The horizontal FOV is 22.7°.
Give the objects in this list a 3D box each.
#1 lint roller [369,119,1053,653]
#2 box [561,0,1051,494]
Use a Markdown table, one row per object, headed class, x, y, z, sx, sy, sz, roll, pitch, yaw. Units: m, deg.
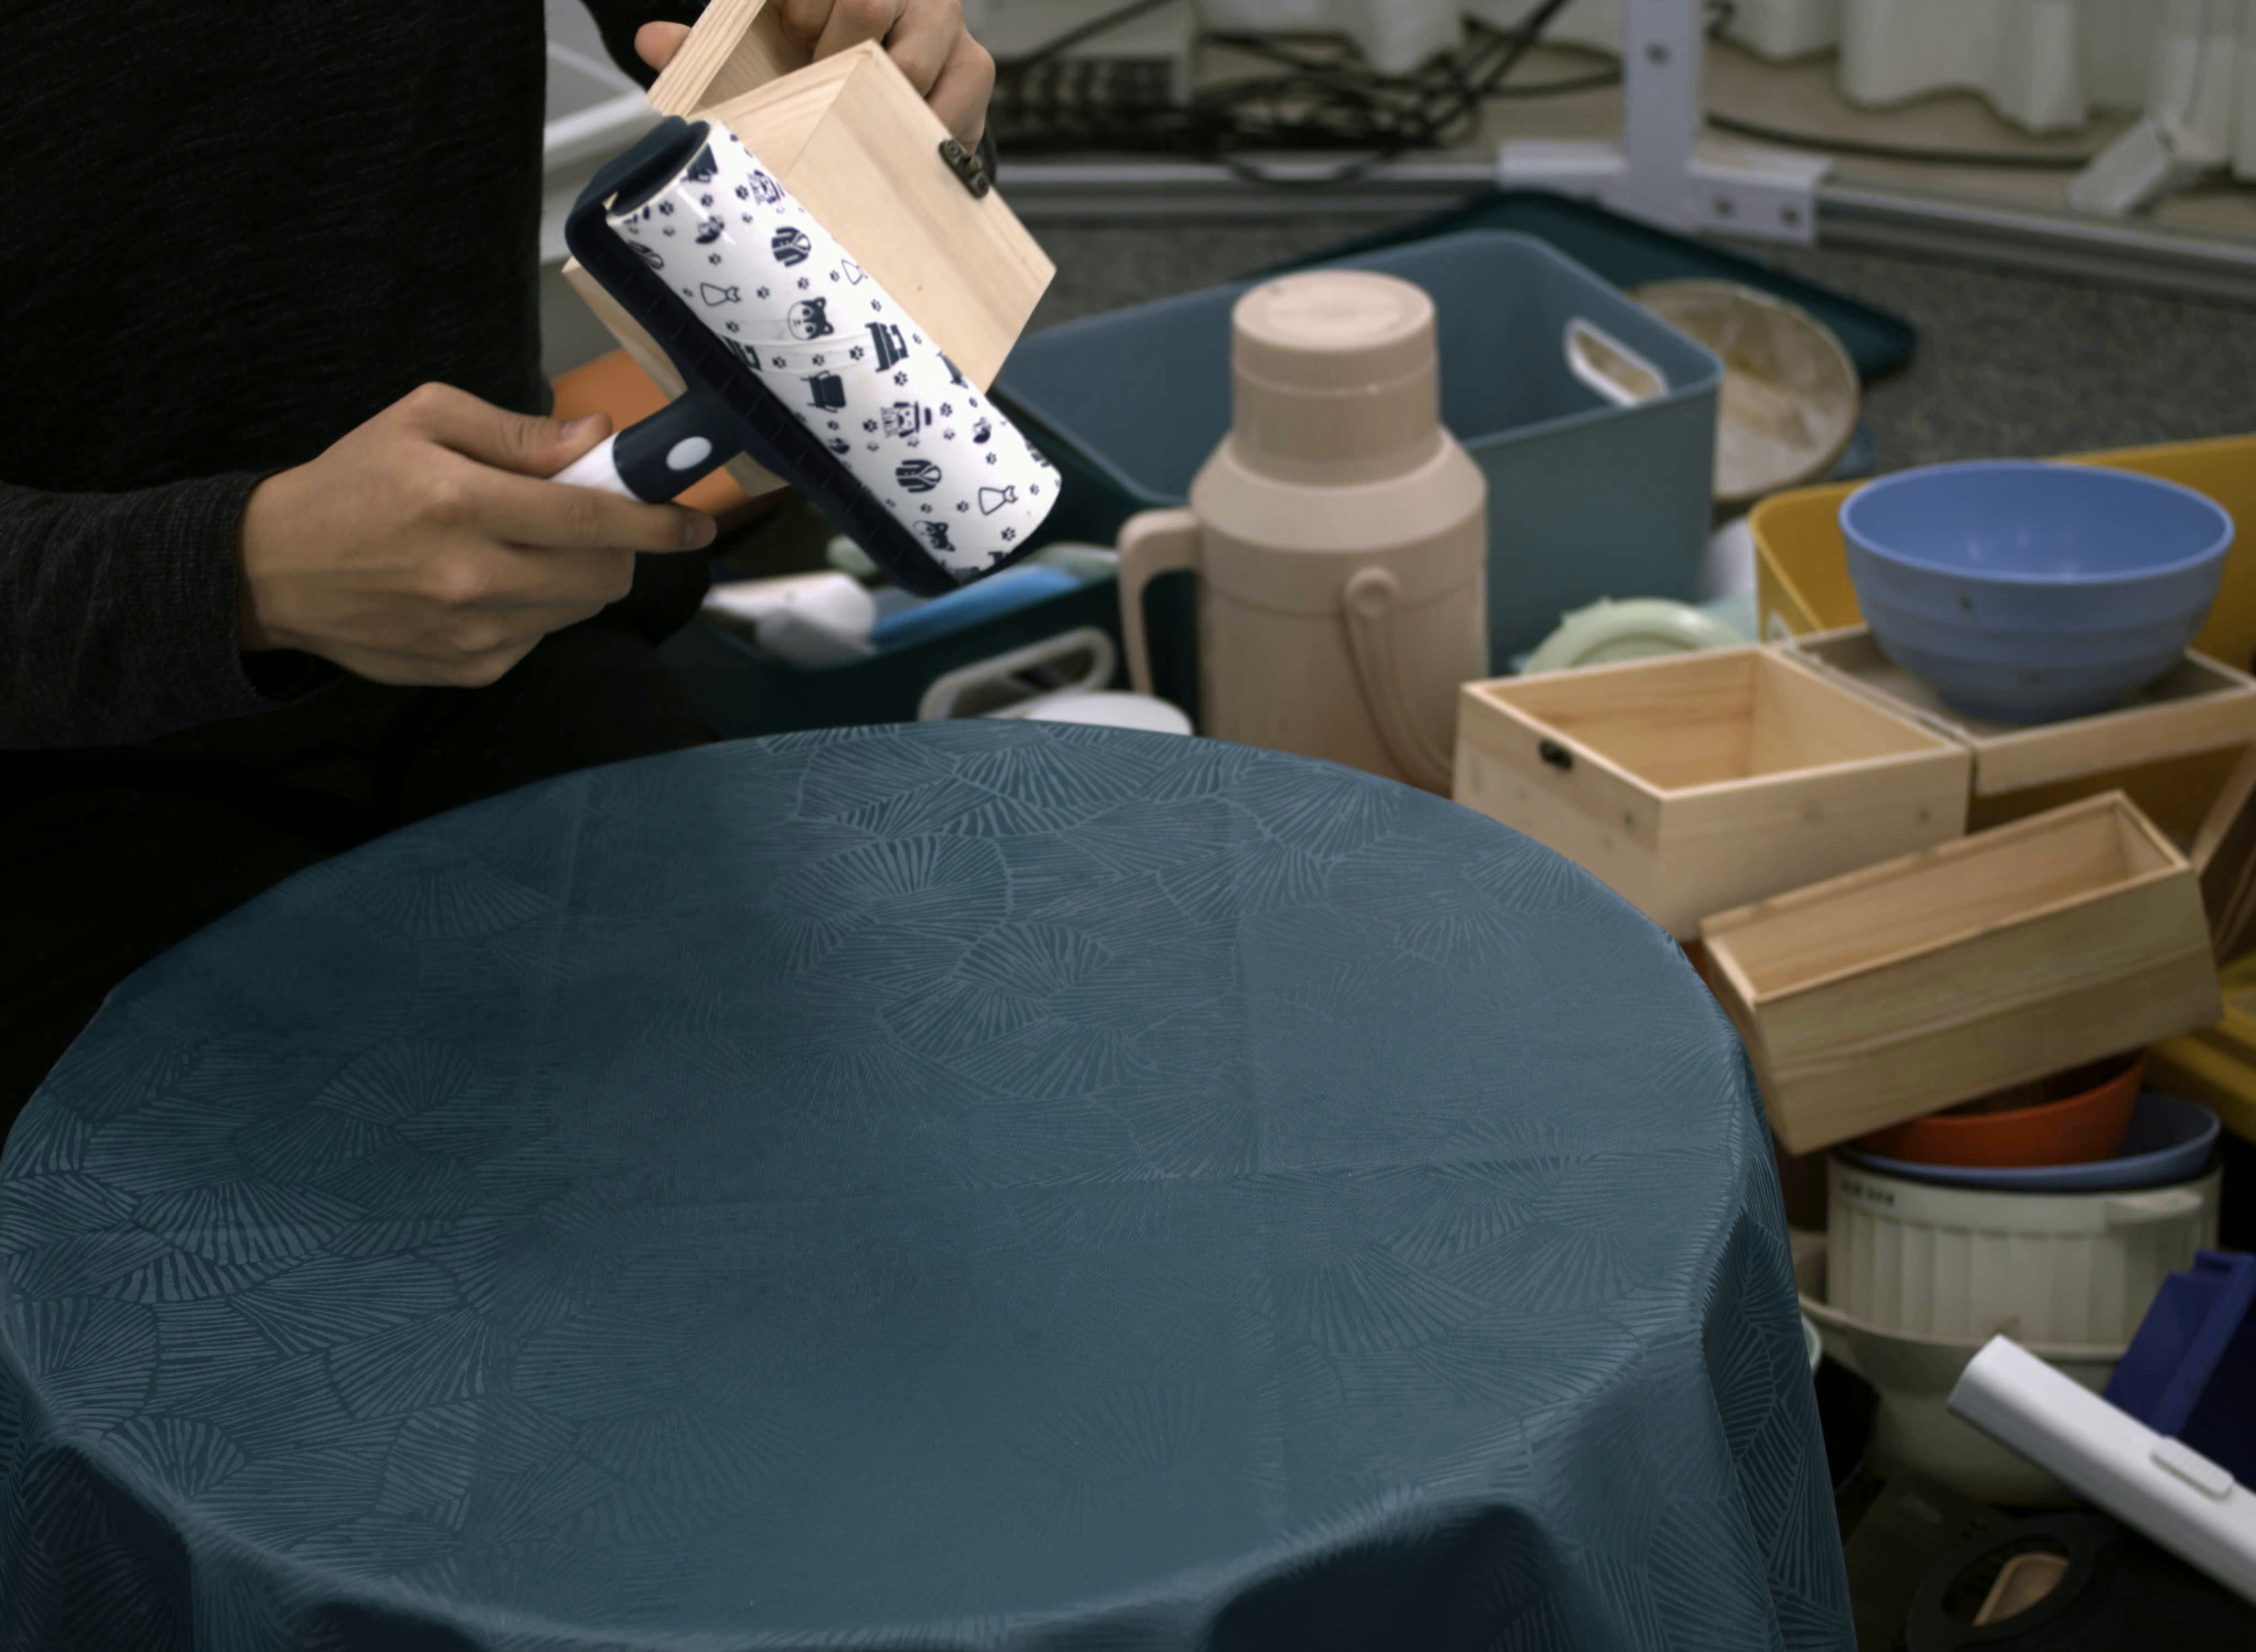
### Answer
| class | x | y | z | sx | sy | sz | roll | pitch | yaw |
| --- | --- | --- | --- | --- | --- | --- | --- | --- | --- |
| lint roller | -0.161 | -0.106 | 1.802 | 0.243 | 0.175 | 0.051 | -31 | 24 | 34 |
| box | -0.090 | -0.214 | 1.858 | 0.132 | 0.102 | 0.188 | -16 | 33 | 40 |
